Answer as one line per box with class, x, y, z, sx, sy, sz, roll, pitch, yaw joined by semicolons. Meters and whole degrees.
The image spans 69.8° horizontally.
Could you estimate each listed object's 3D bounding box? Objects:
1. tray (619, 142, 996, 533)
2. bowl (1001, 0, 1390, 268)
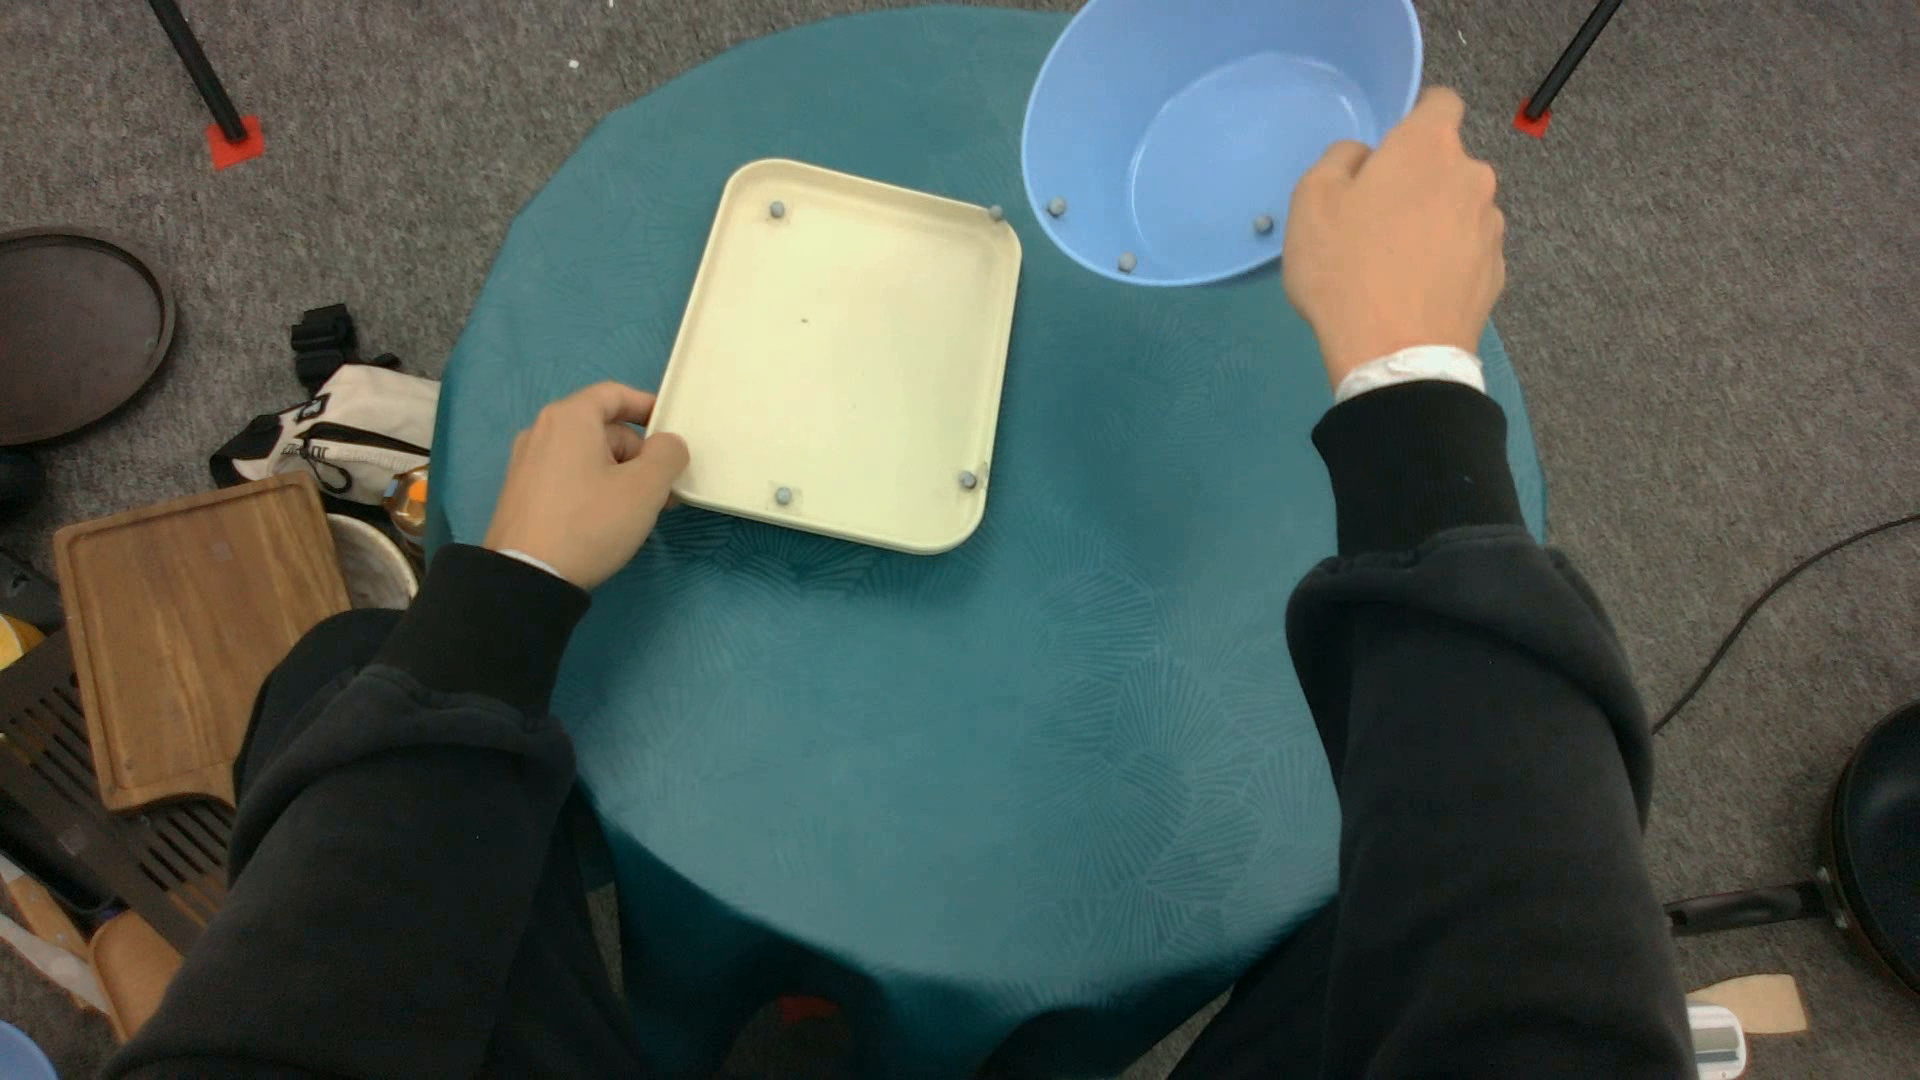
tray;-0.073;-0.112;0.729;0.171;0.017;0.241;11;57;-5
bowl;0.111;-0.192;0.620;0.175;0.070;0.176;-9;71;27
